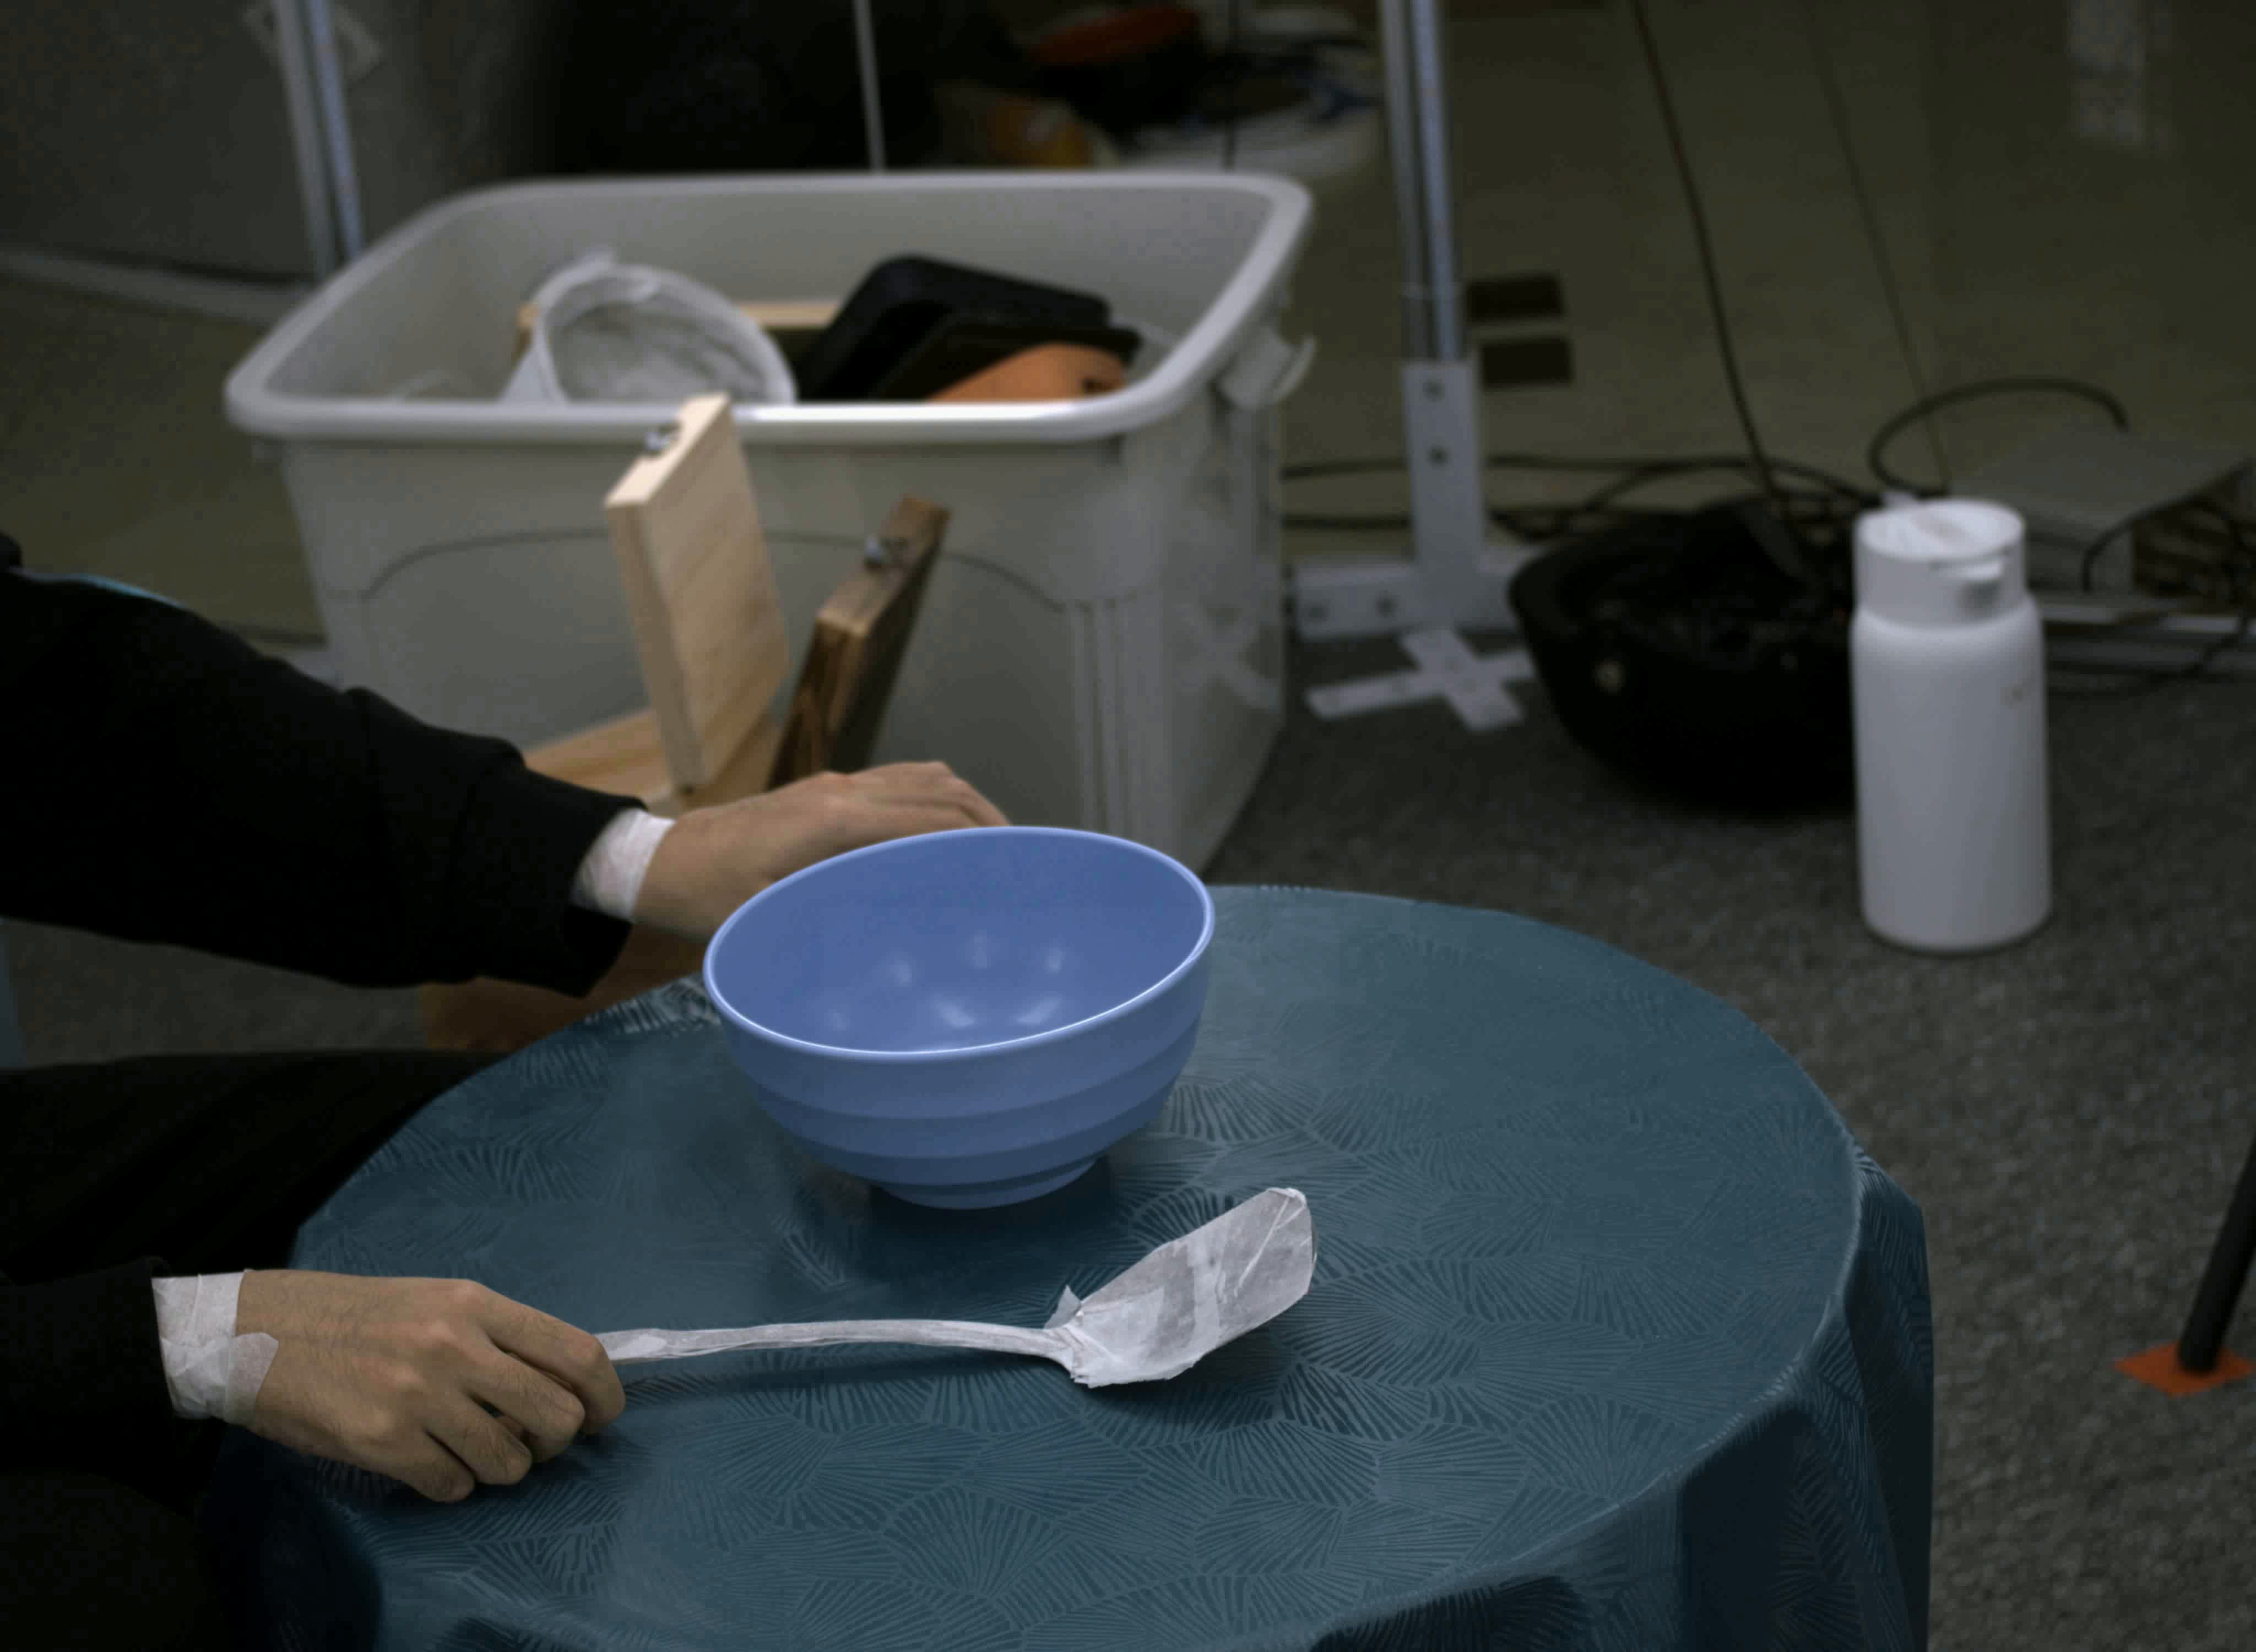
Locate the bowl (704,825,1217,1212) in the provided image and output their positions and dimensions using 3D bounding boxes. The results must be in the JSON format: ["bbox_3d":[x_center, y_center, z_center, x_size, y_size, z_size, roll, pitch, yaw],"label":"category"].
[{"bbox_3d":[-0.059,0.085,2.171,0.196,0.097,0.193,-5,26,3],"label":"bowl"}]

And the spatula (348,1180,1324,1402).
[{"bbox_3d":[-0.109,0.178,2.049,0.364,0.045,0.097,-4,27,5],"label":"spatula"}]
